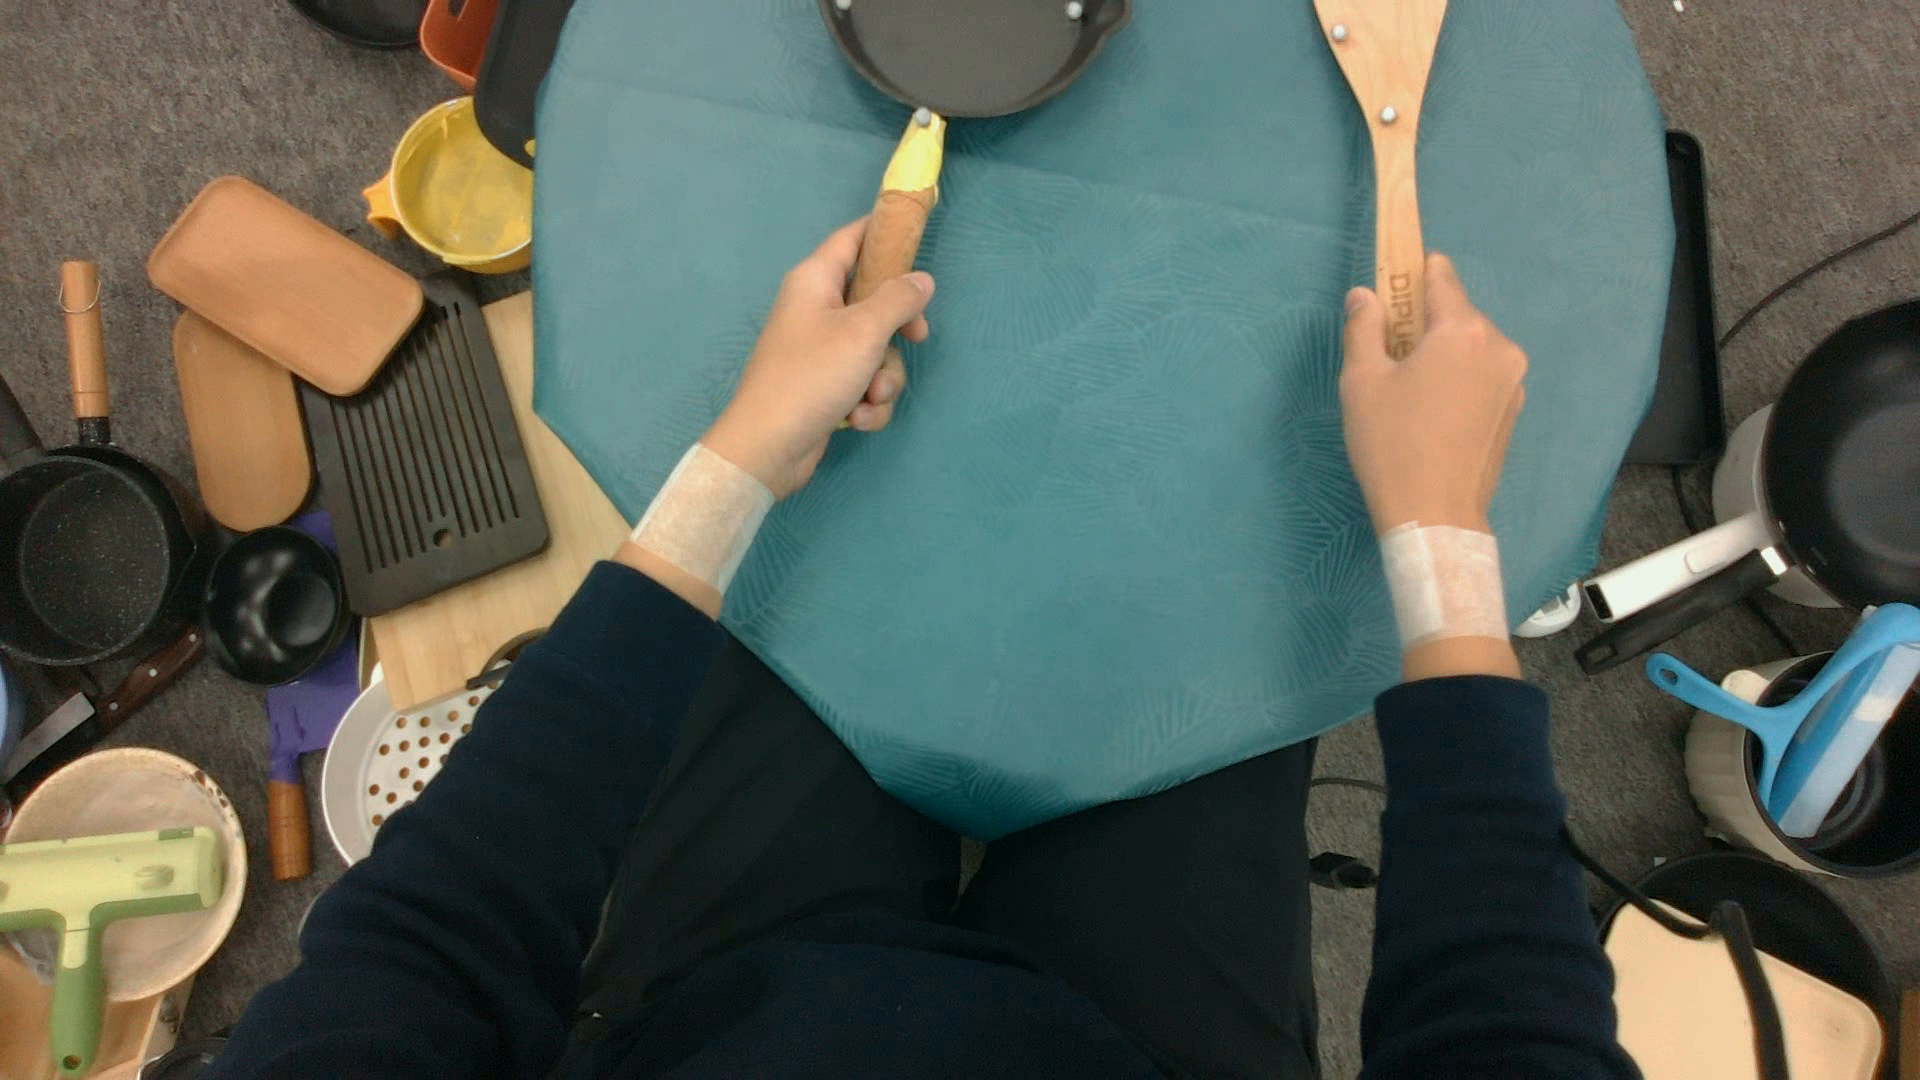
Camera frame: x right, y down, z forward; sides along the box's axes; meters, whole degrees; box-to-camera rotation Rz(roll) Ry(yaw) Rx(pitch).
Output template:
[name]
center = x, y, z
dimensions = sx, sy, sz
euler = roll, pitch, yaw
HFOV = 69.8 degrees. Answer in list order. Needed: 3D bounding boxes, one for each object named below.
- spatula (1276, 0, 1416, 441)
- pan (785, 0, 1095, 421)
[spatula]
center = 0.202, -0.206, 0.701
dimensions = 0.080, 0.016, 0.328
euler = -6, 73, 18
[pan]
center = -0.035, -0.211, 0.696
dimensions = 0.169, 0.049, 0.325
euler = 15, 79, 0
